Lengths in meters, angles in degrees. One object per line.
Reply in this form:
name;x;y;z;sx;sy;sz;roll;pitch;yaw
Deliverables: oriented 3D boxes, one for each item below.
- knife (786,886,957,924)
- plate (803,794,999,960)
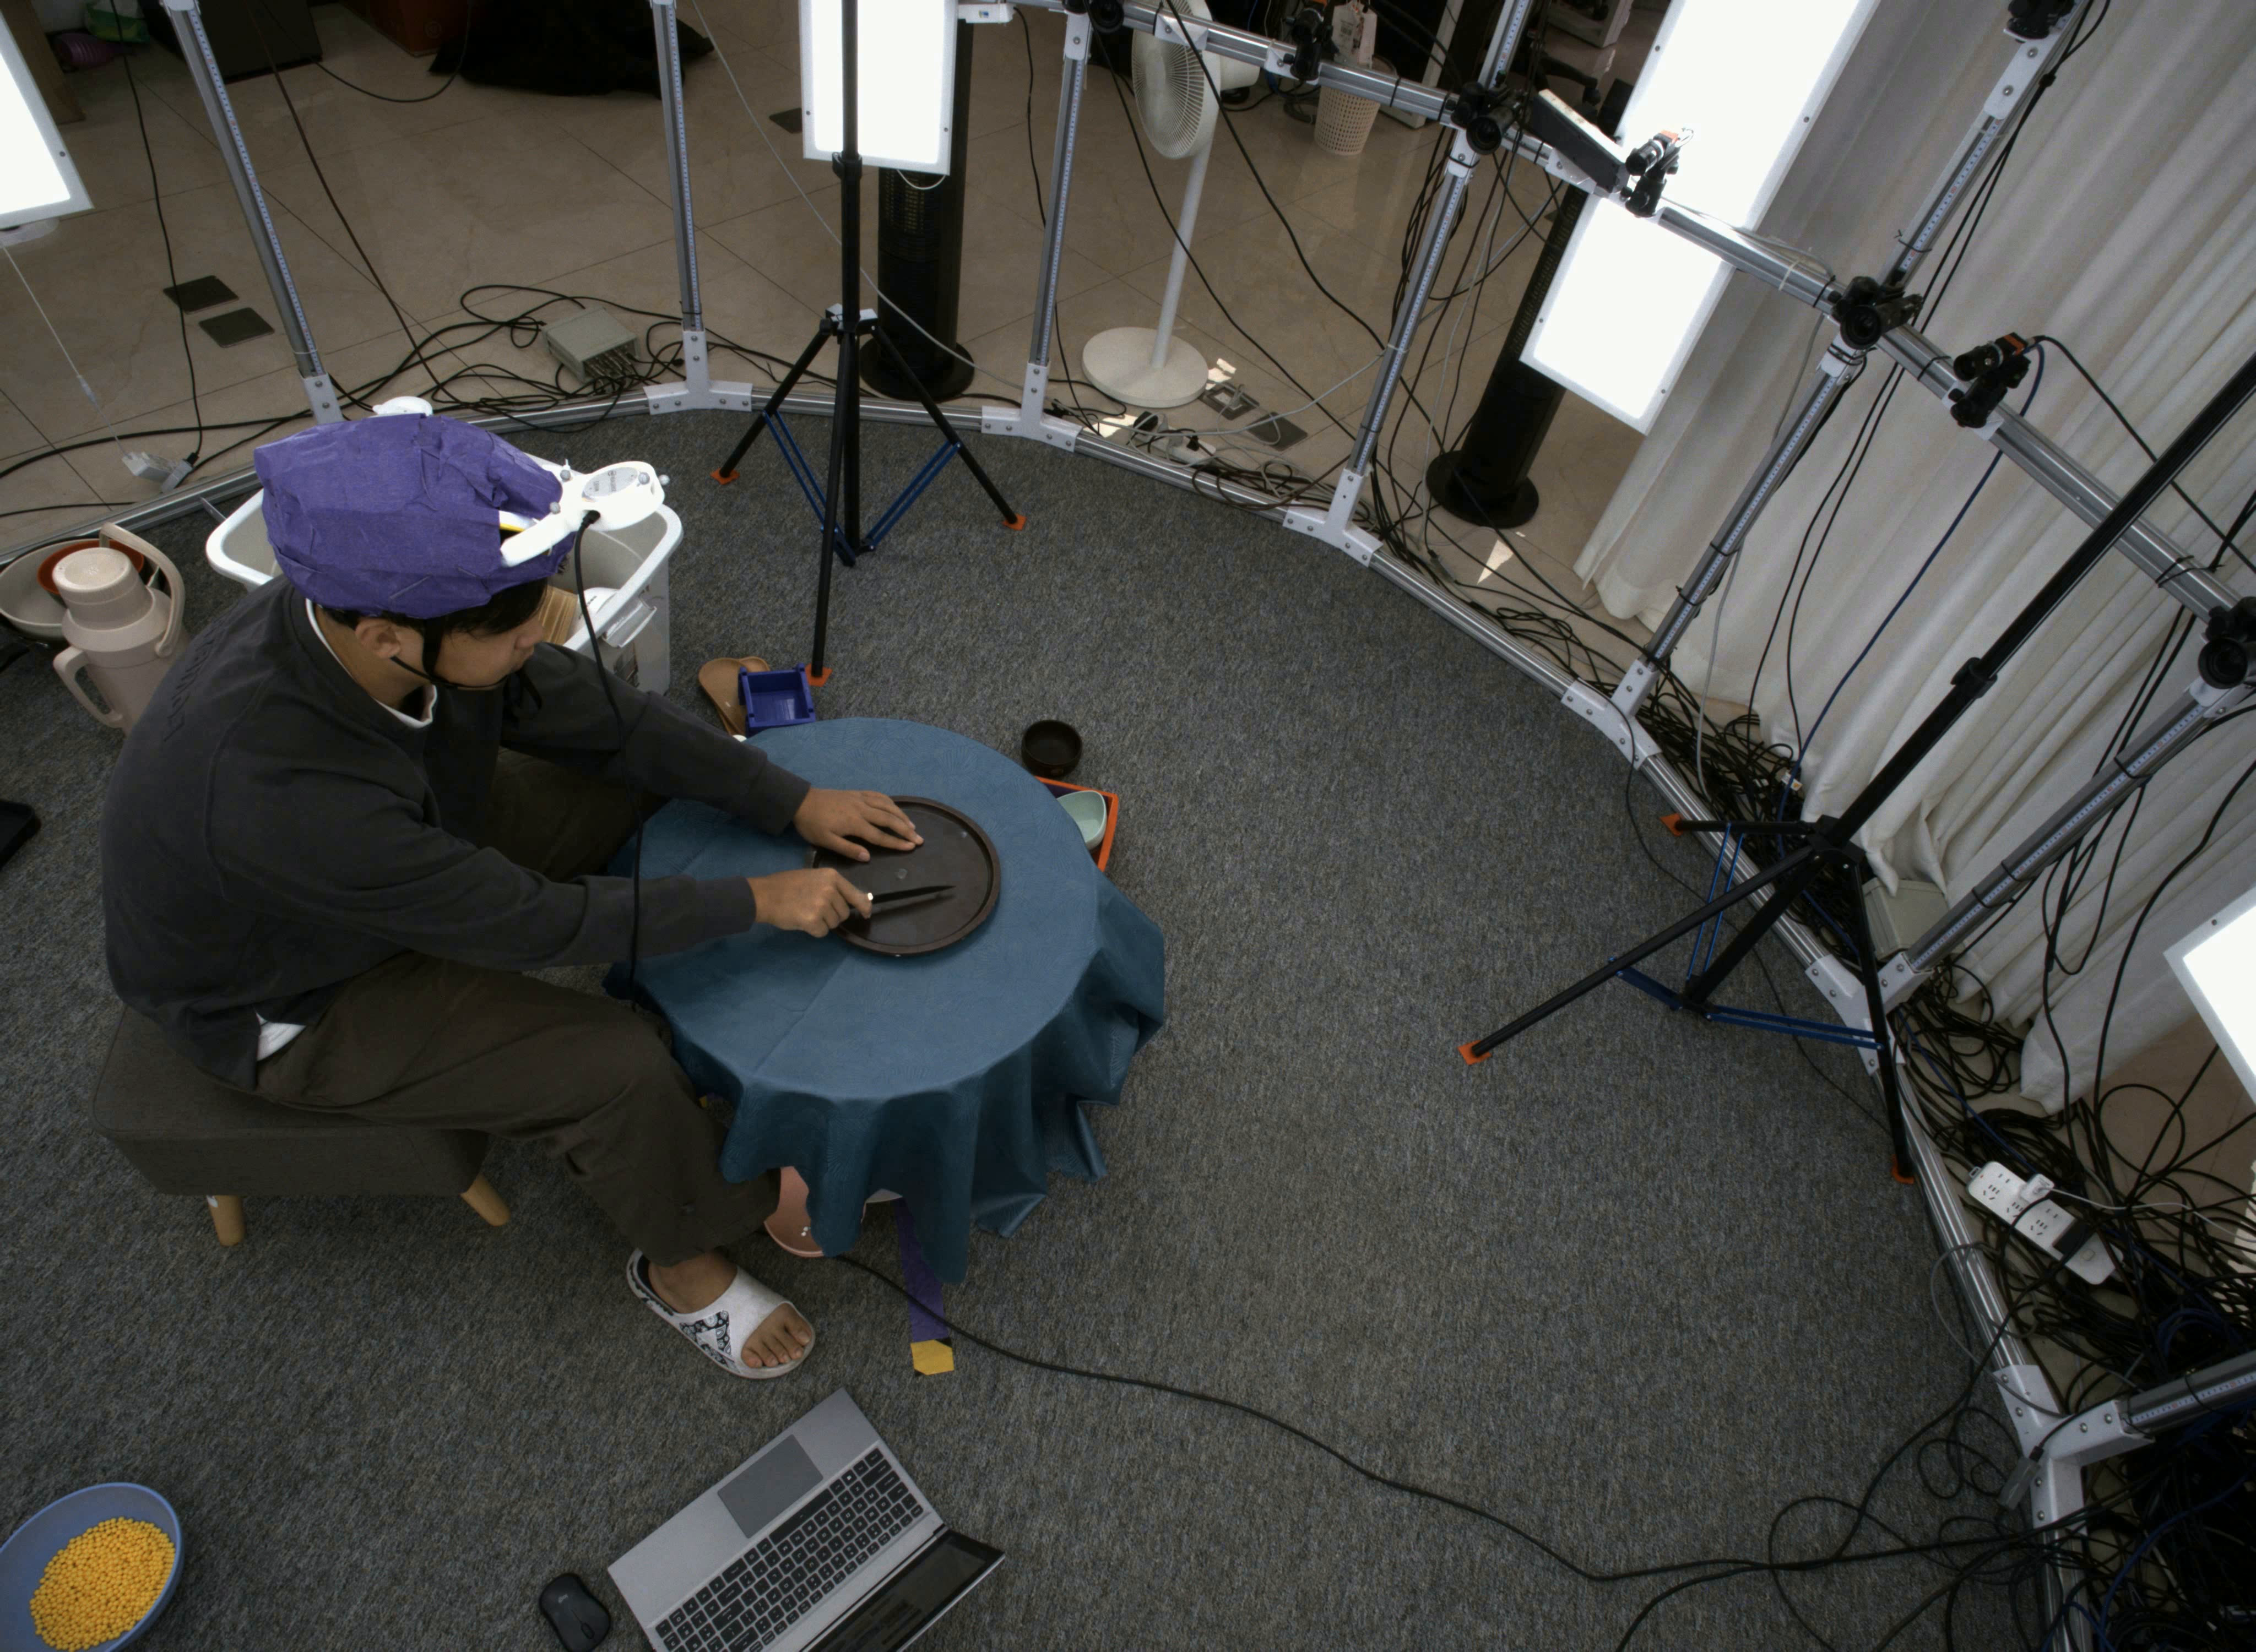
knife;-0.320;0.093;1.637;0.227;0.026;0.017;-10;59;-28
plate;-0.293;0.063;1.691;0.254;0.029;0.250;7;54;-8
